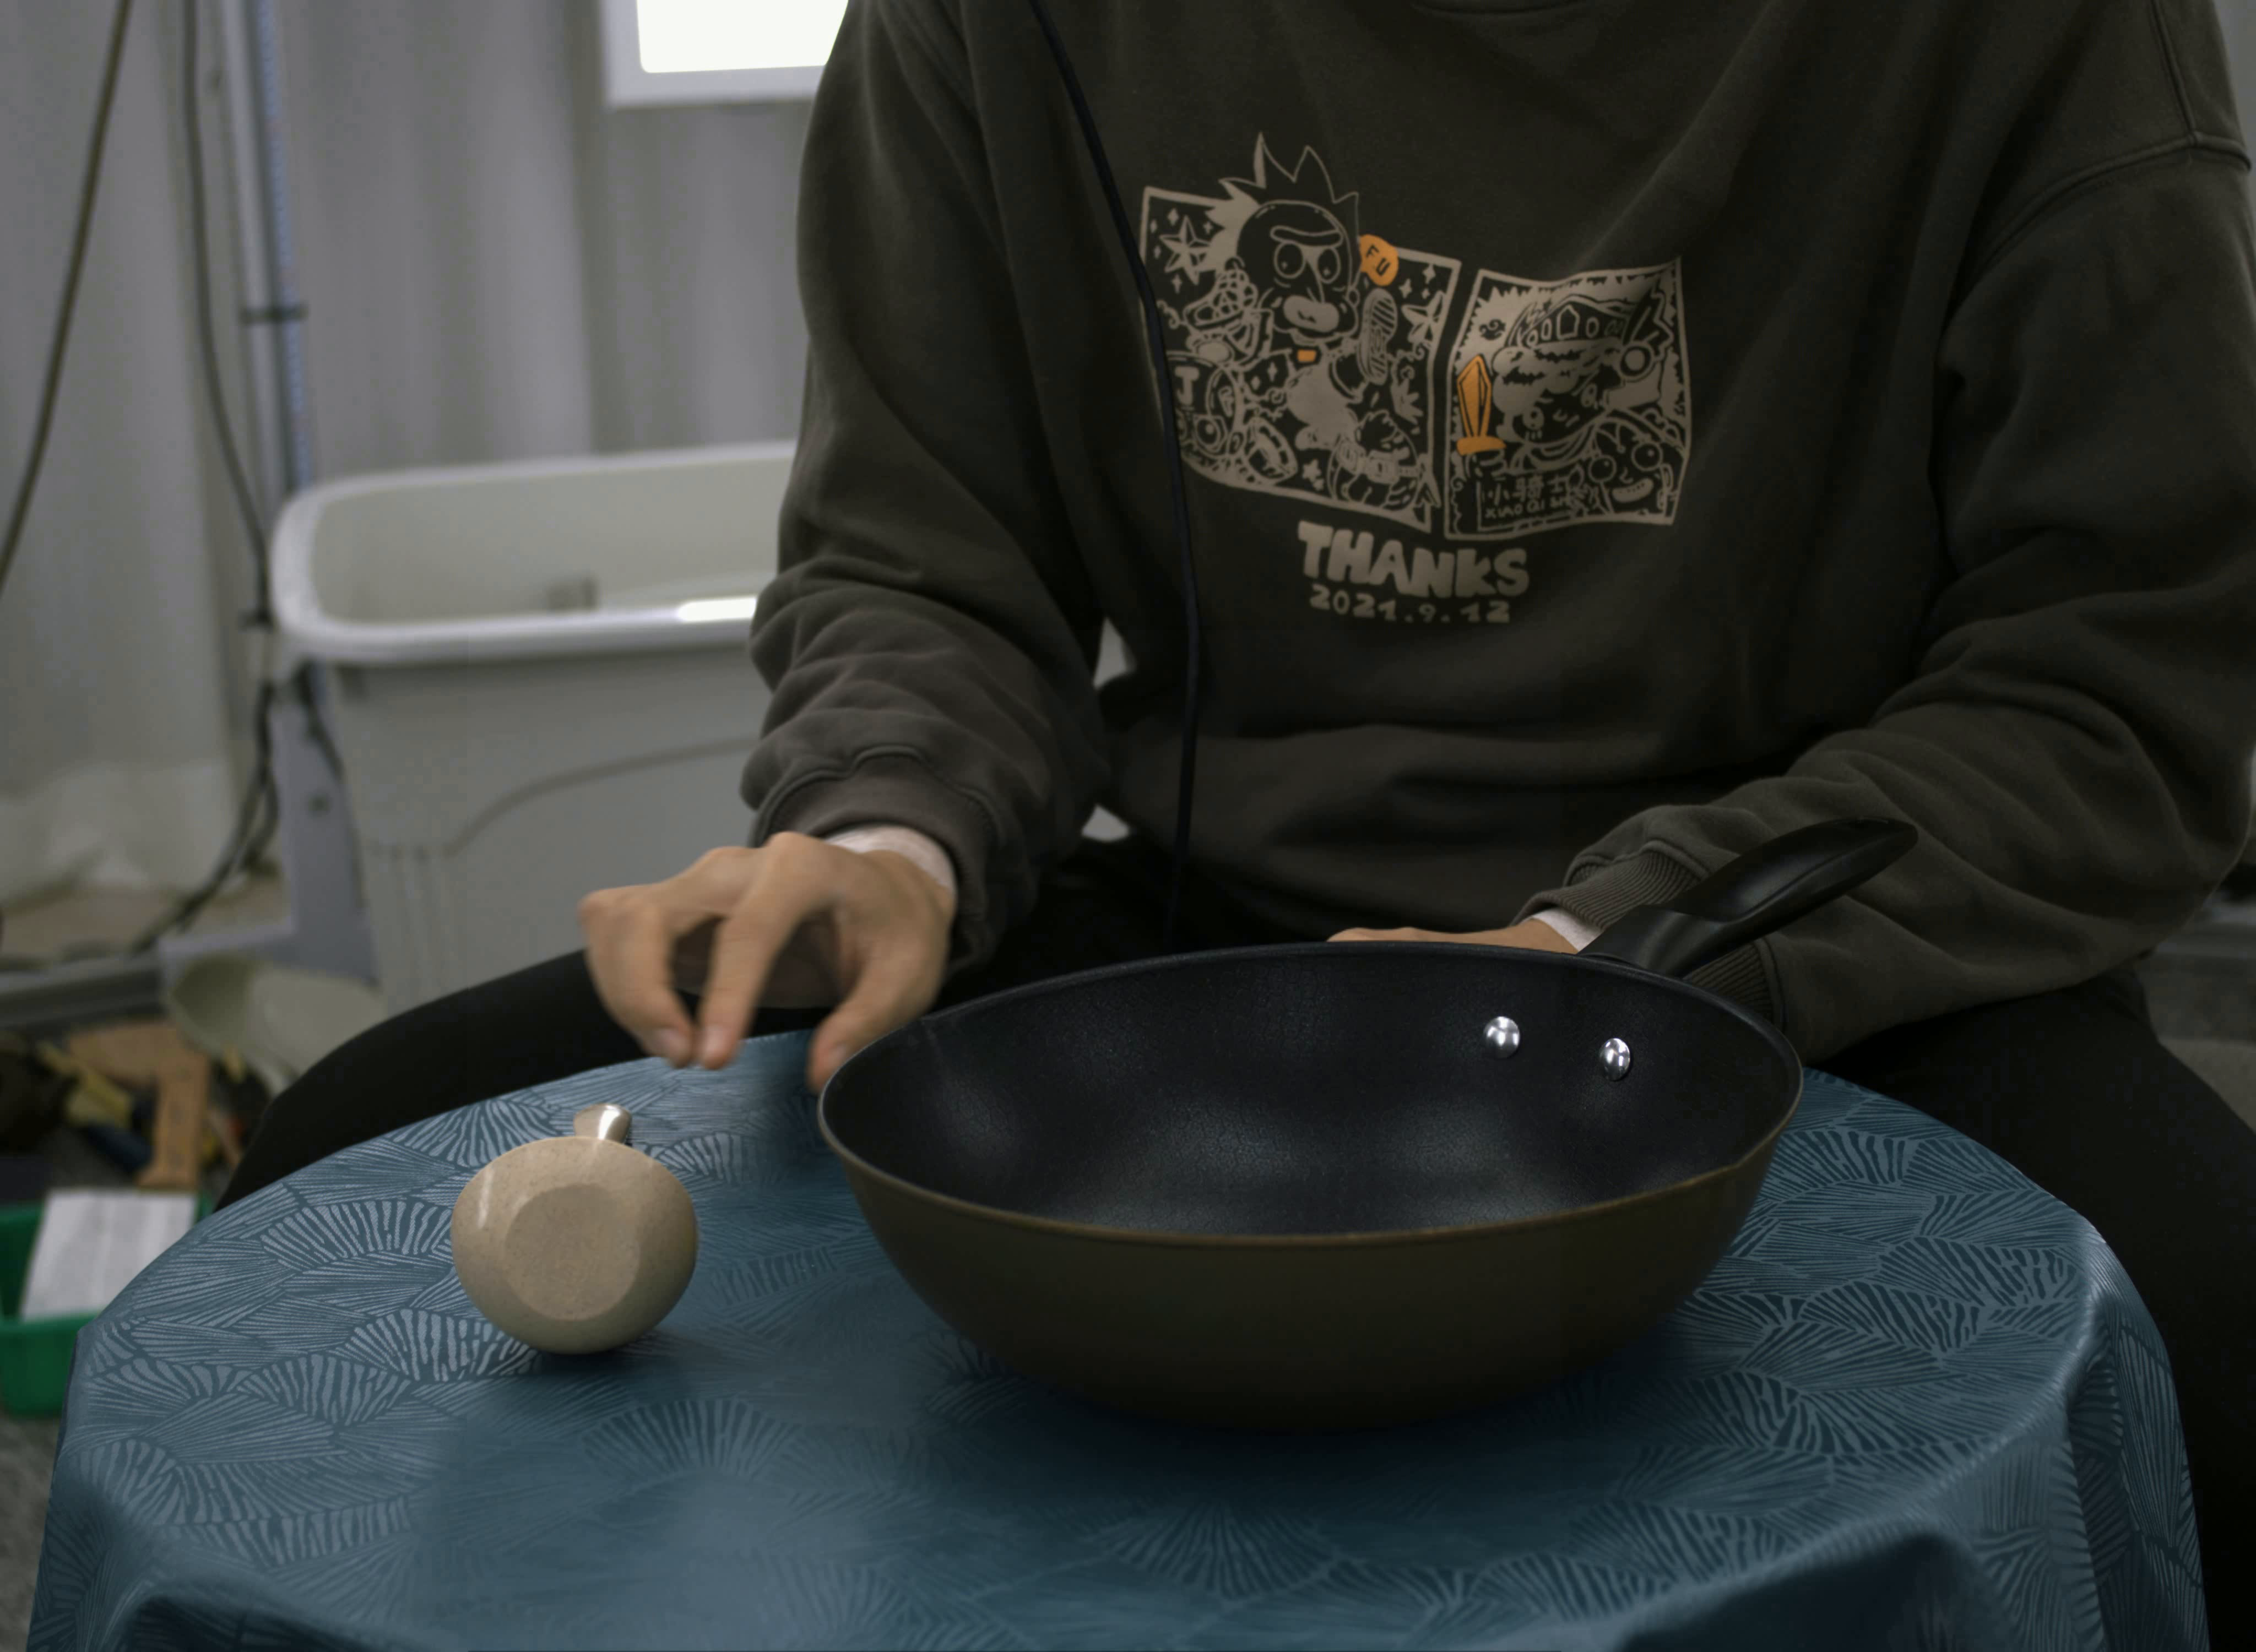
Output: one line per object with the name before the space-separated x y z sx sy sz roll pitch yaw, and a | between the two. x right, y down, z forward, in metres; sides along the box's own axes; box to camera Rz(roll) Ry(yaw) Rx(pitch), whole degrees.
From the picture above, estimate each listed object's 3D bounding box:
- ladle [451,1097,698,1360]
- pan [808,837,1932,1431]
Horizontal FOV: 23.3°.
ladle | -0.172 0.095 1.691 0.072 0.072 0.256 -10 17 -4
pan | 0.107 0.089 1.640 0.289 0.086 0.463 9 18 38
